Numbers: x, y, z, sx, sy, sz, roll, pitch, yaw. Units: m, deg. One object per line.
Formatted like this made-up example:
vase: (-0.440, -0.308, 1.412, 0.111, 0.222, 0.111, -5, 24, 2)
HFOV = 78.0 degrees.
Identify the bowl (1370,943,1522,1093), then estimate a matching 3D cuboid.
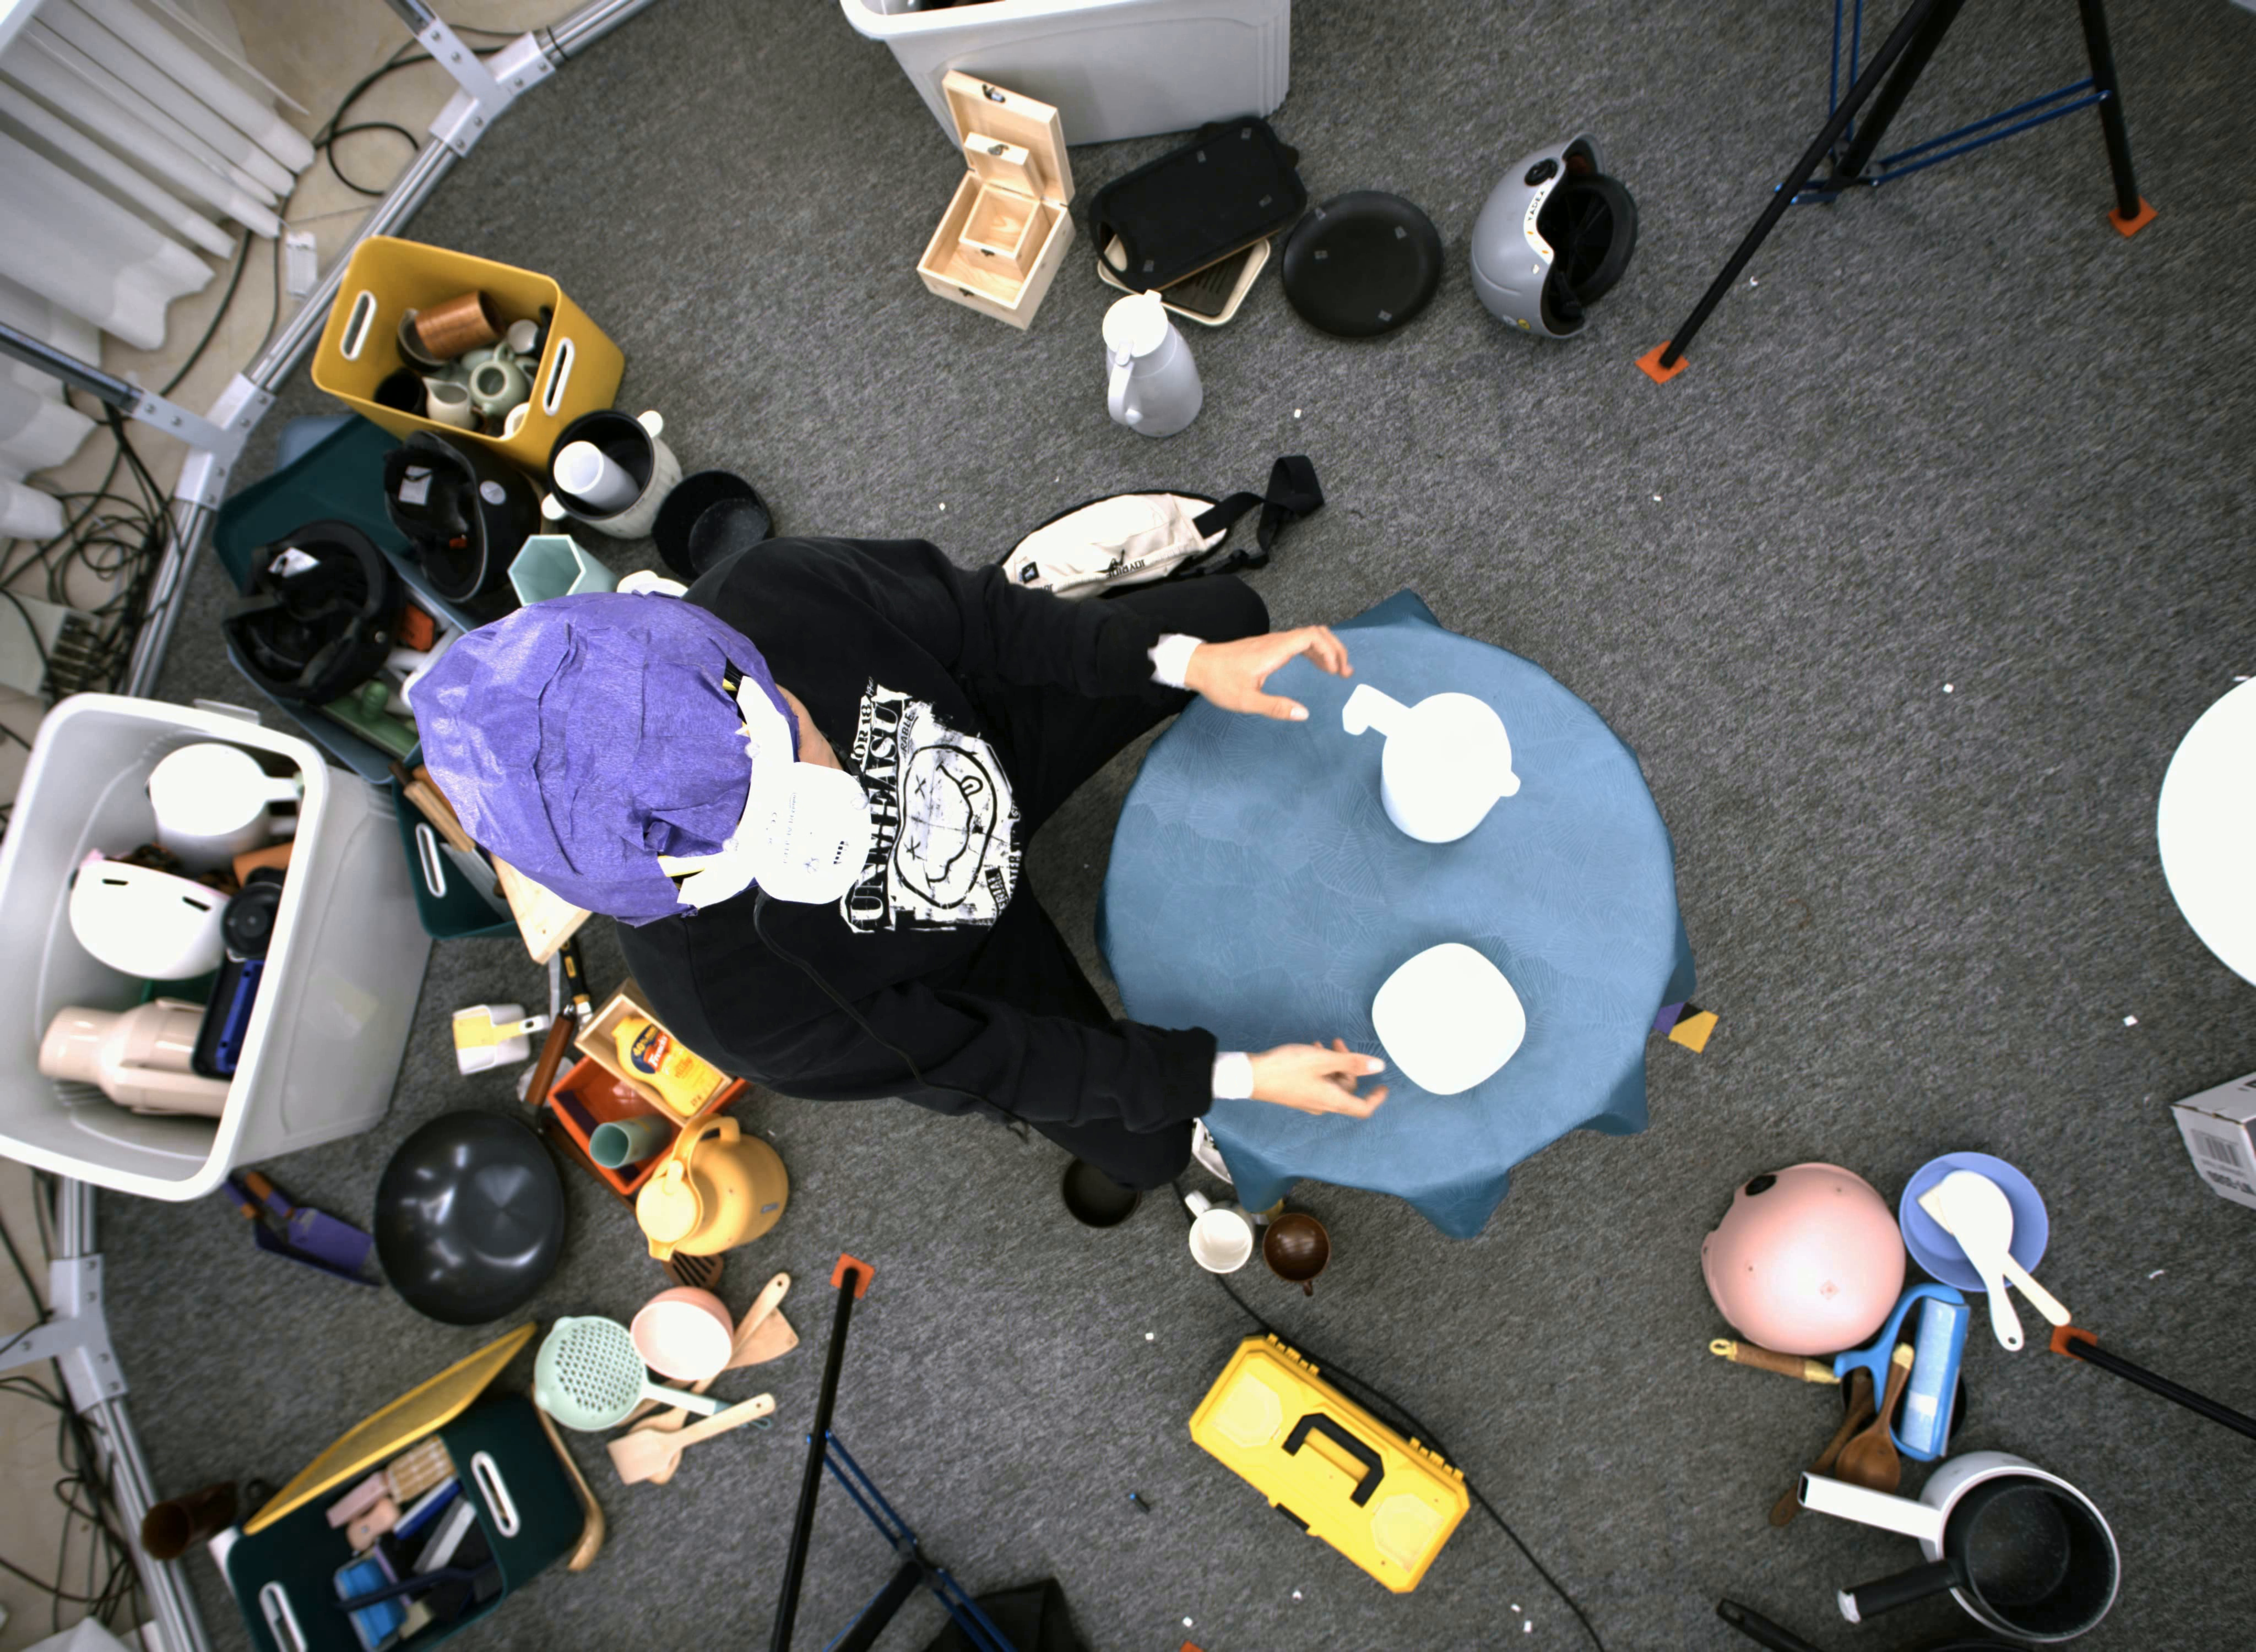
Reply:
bowl: (0.325, 0.195, 1.418, 0.152, 0.058, 0.151, -1, 86, 11)

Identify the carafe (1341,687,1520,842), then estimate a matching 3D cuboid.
carafe: (0.287, -0.062, 1.329, 0.172, 0.268, 0.124, 30, 93, 11)
